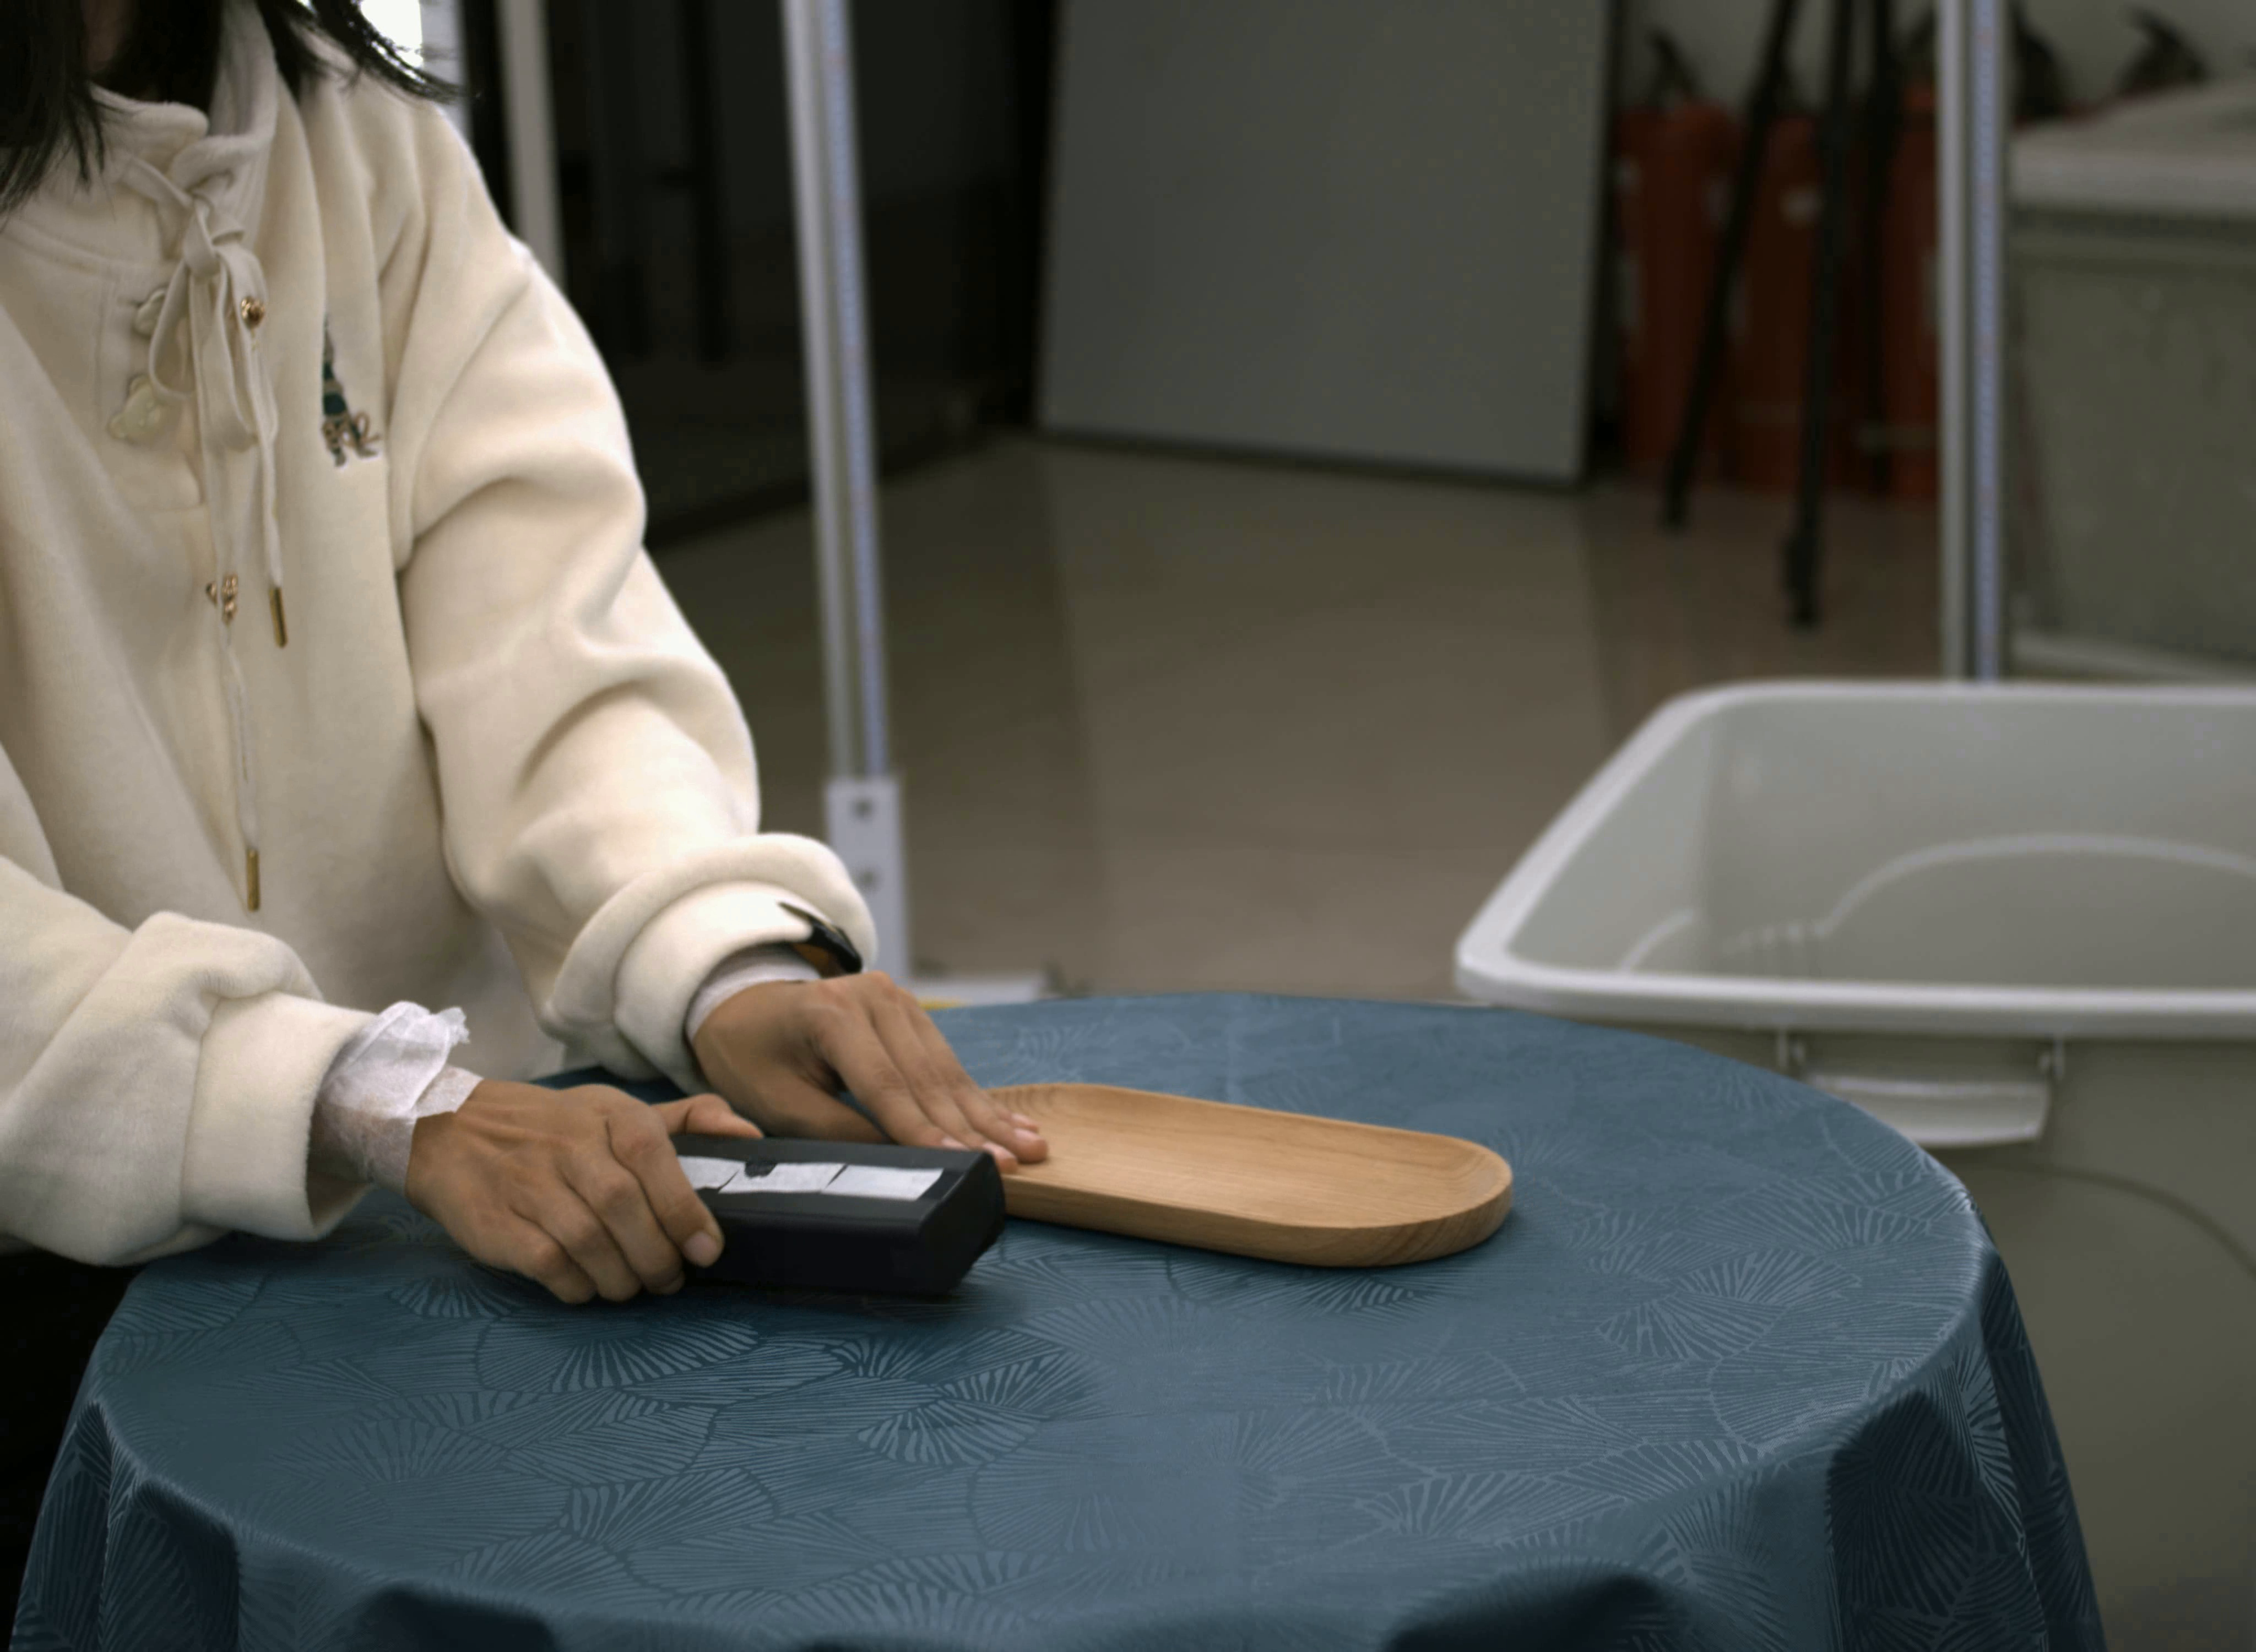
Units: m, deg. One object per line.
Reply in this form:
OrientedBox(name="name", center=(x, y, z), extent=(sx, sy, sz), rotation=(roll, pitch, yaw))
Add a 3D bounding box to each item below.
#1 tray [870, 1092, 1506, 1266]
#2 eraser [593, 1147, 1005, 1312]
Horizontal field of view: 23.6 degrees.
OrientedBox(name="tray", center=(0.018, 0.115, 1.758), extent=(0.232, 0.020, 0.100), rotation=(3, 15, 35))
OrientedBox(name="eraser", center=(-0.102, 0.125, 1.688), extent=(0.126, 0.031, 0.053), rotation=(2, 22, 31))
